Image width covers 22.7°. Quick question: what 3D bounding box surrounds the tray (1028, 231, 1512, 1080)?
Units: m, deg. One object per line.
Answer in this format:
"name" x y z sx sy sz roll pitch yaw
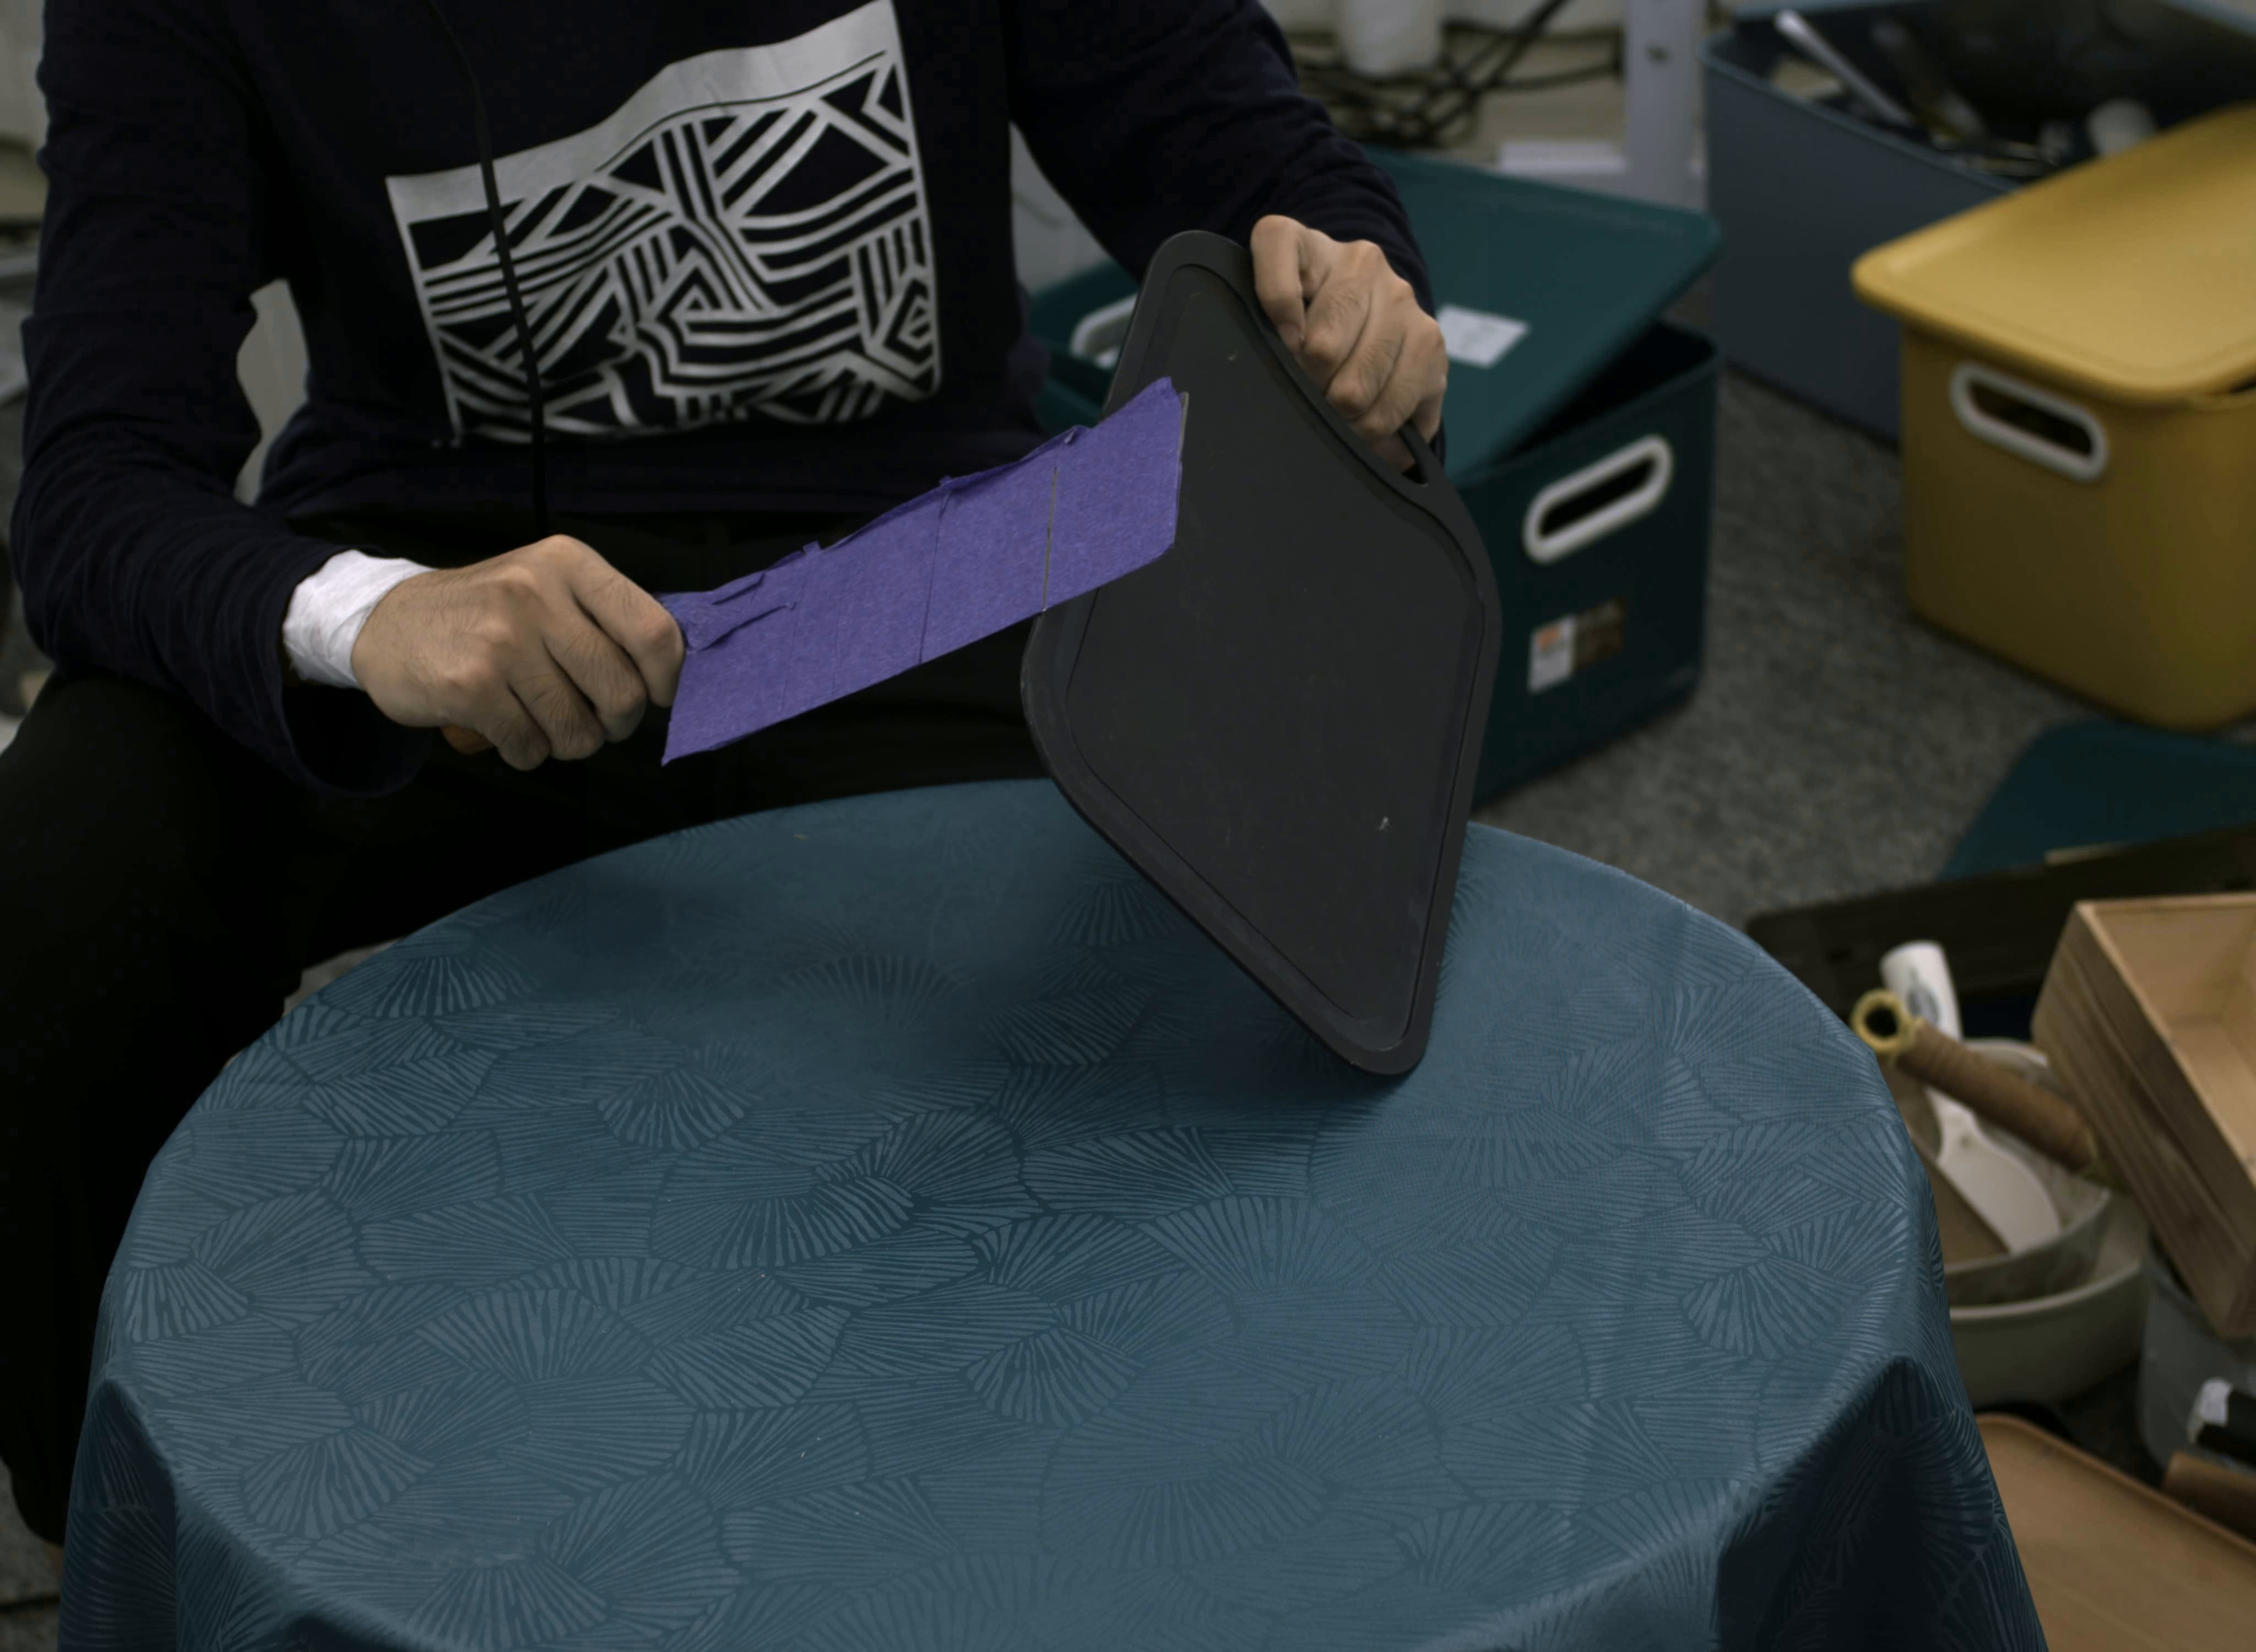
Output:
"tray" 0.057 -0.072 1.986 0.009 0.210 0.332 -29 28 33

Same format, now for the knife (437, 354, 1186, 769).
"knife" -0.114 -0.072 1.943 0.311 0.032 0.106 -25 34 24
